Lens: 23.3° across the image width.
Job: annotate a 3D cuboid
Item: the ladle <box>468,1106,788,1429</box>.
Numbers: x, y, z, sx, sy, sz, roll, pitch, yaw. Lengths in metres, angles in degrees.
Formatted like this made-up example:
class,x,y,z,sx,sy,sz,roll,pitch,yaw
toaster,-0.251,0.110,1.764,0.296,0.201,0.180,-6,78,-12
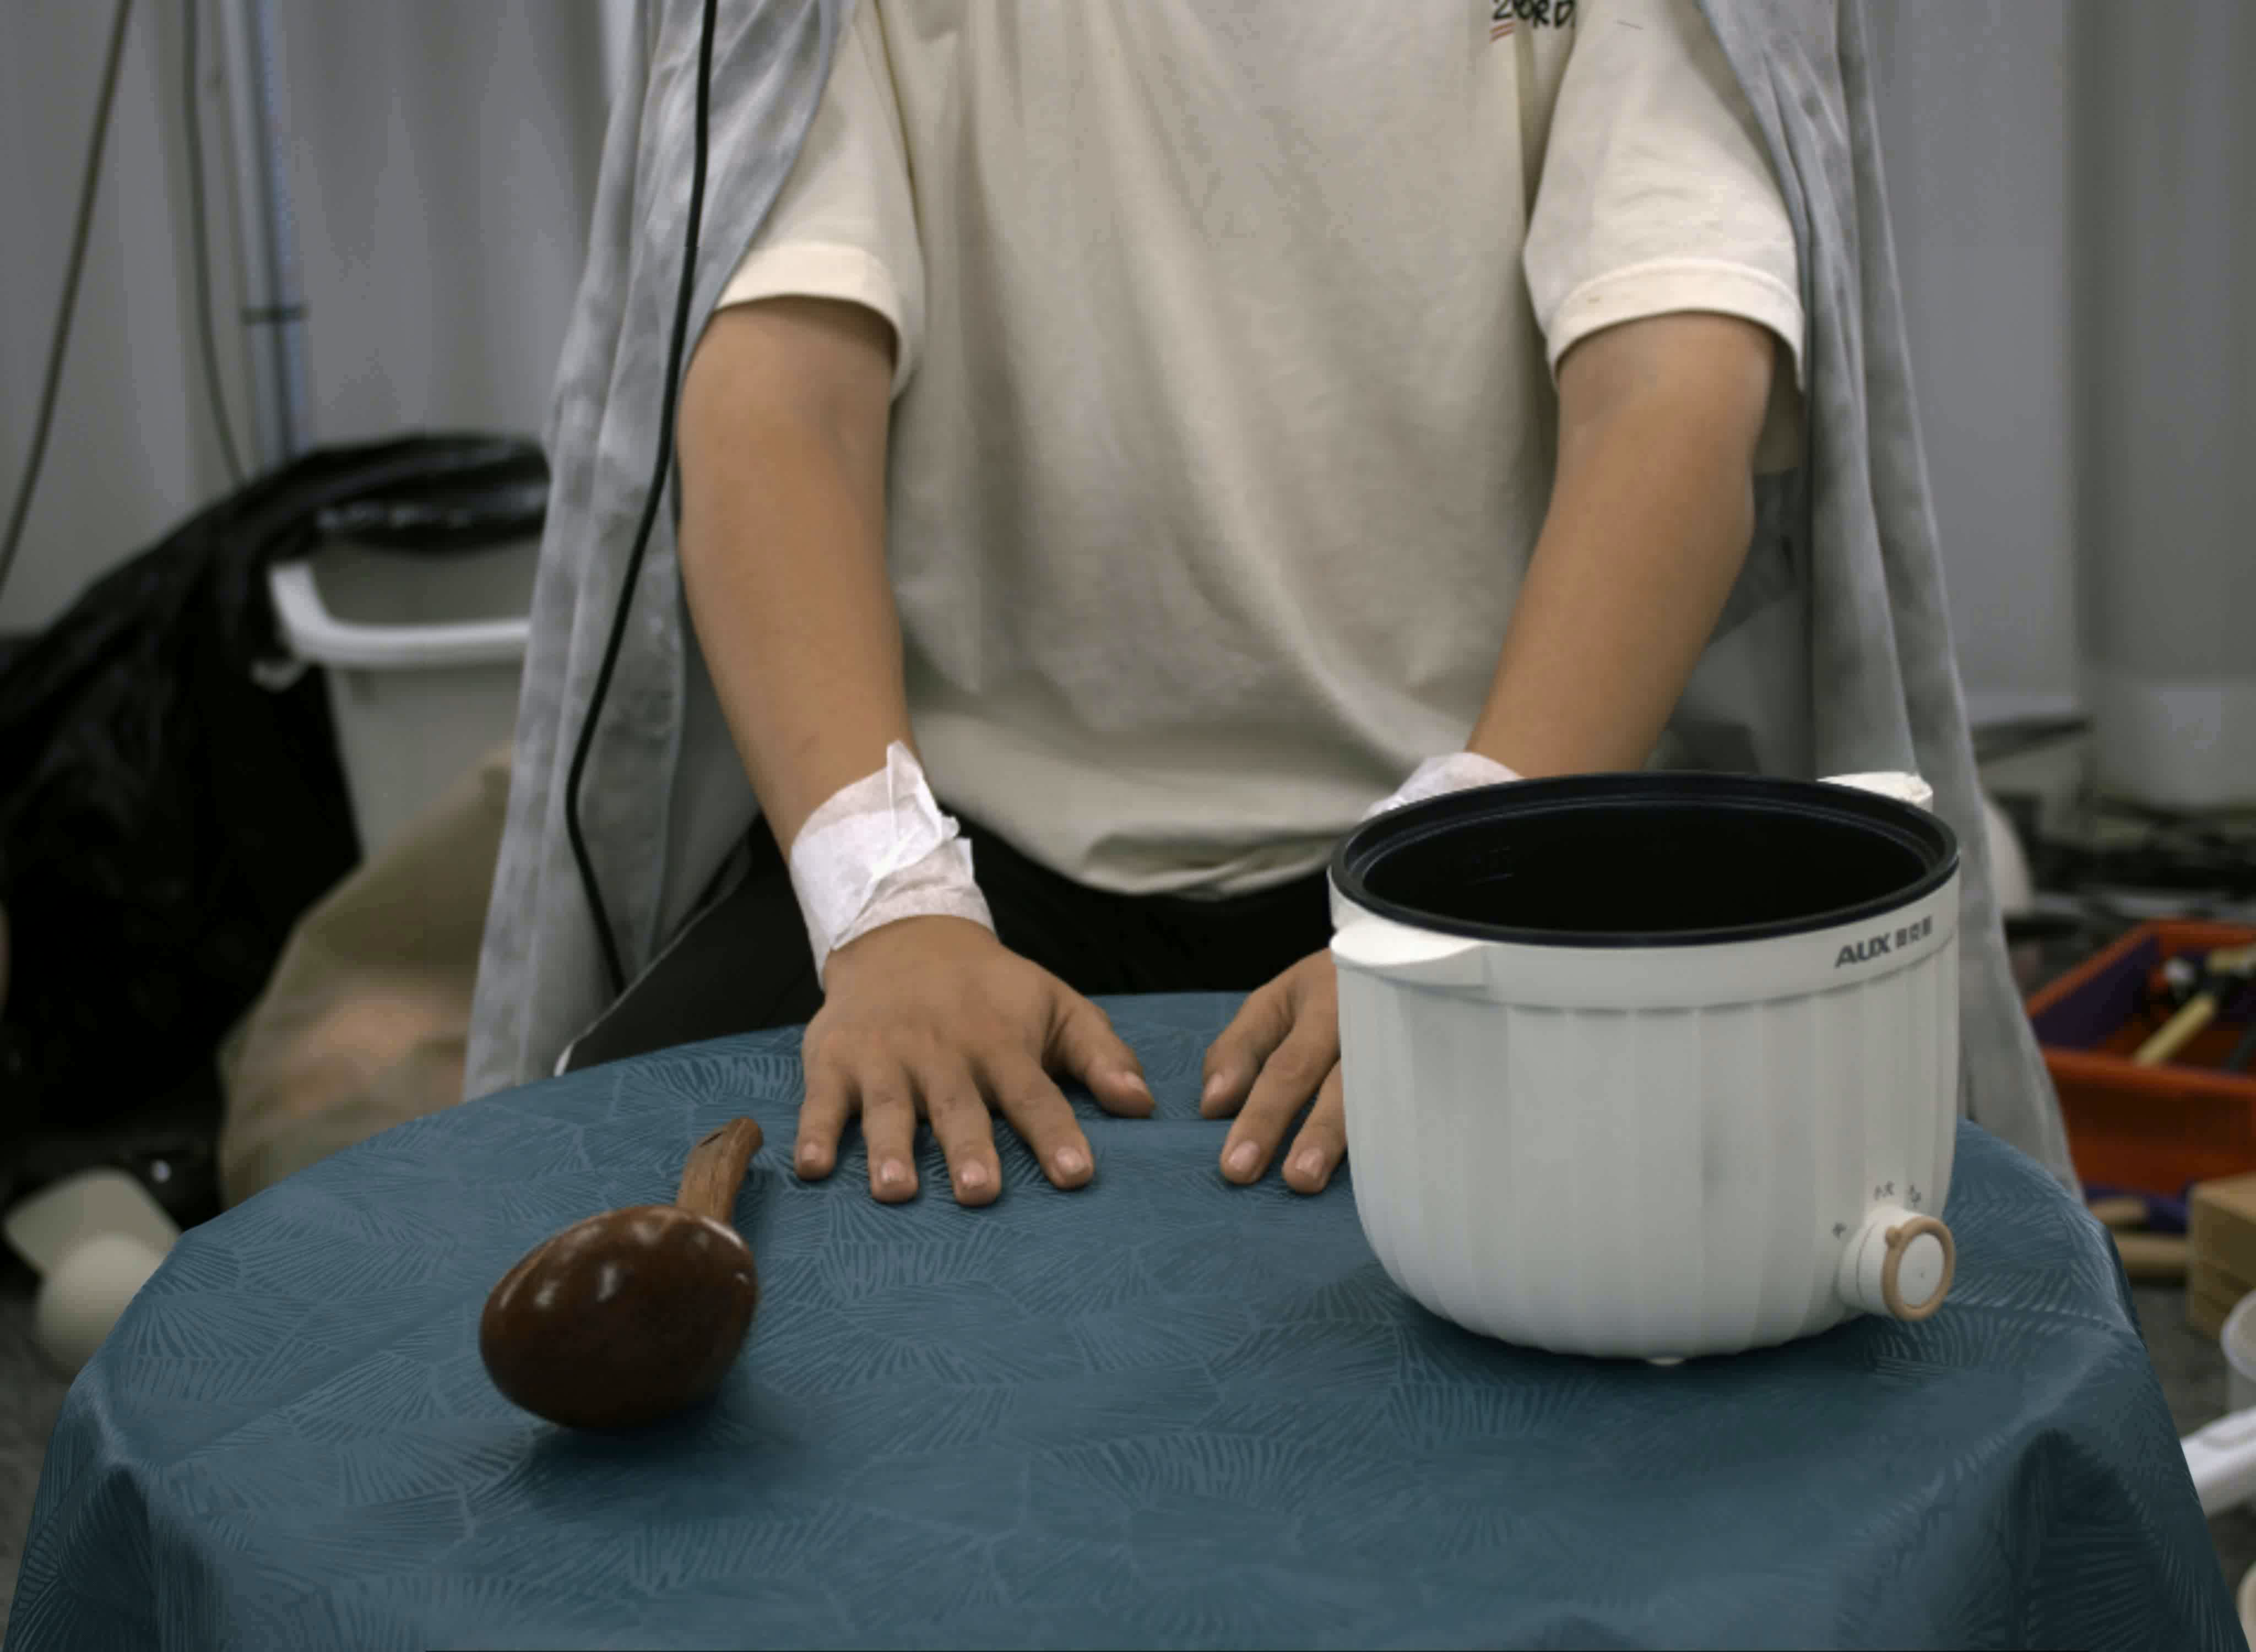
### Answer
class,x,y,z,sx,sy,sz,roll,pitch,yaw
ladle,-0.141,0.109,1.621,0.082,0.076,0.276,-26,14,8

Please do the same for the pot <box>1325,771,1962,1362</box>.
class,x,y,z,sx,sy,sz,roll,pitch,yaw
pot,0.156,0.071,1.585,0.240,0.142,0.191,-17,16,-41
